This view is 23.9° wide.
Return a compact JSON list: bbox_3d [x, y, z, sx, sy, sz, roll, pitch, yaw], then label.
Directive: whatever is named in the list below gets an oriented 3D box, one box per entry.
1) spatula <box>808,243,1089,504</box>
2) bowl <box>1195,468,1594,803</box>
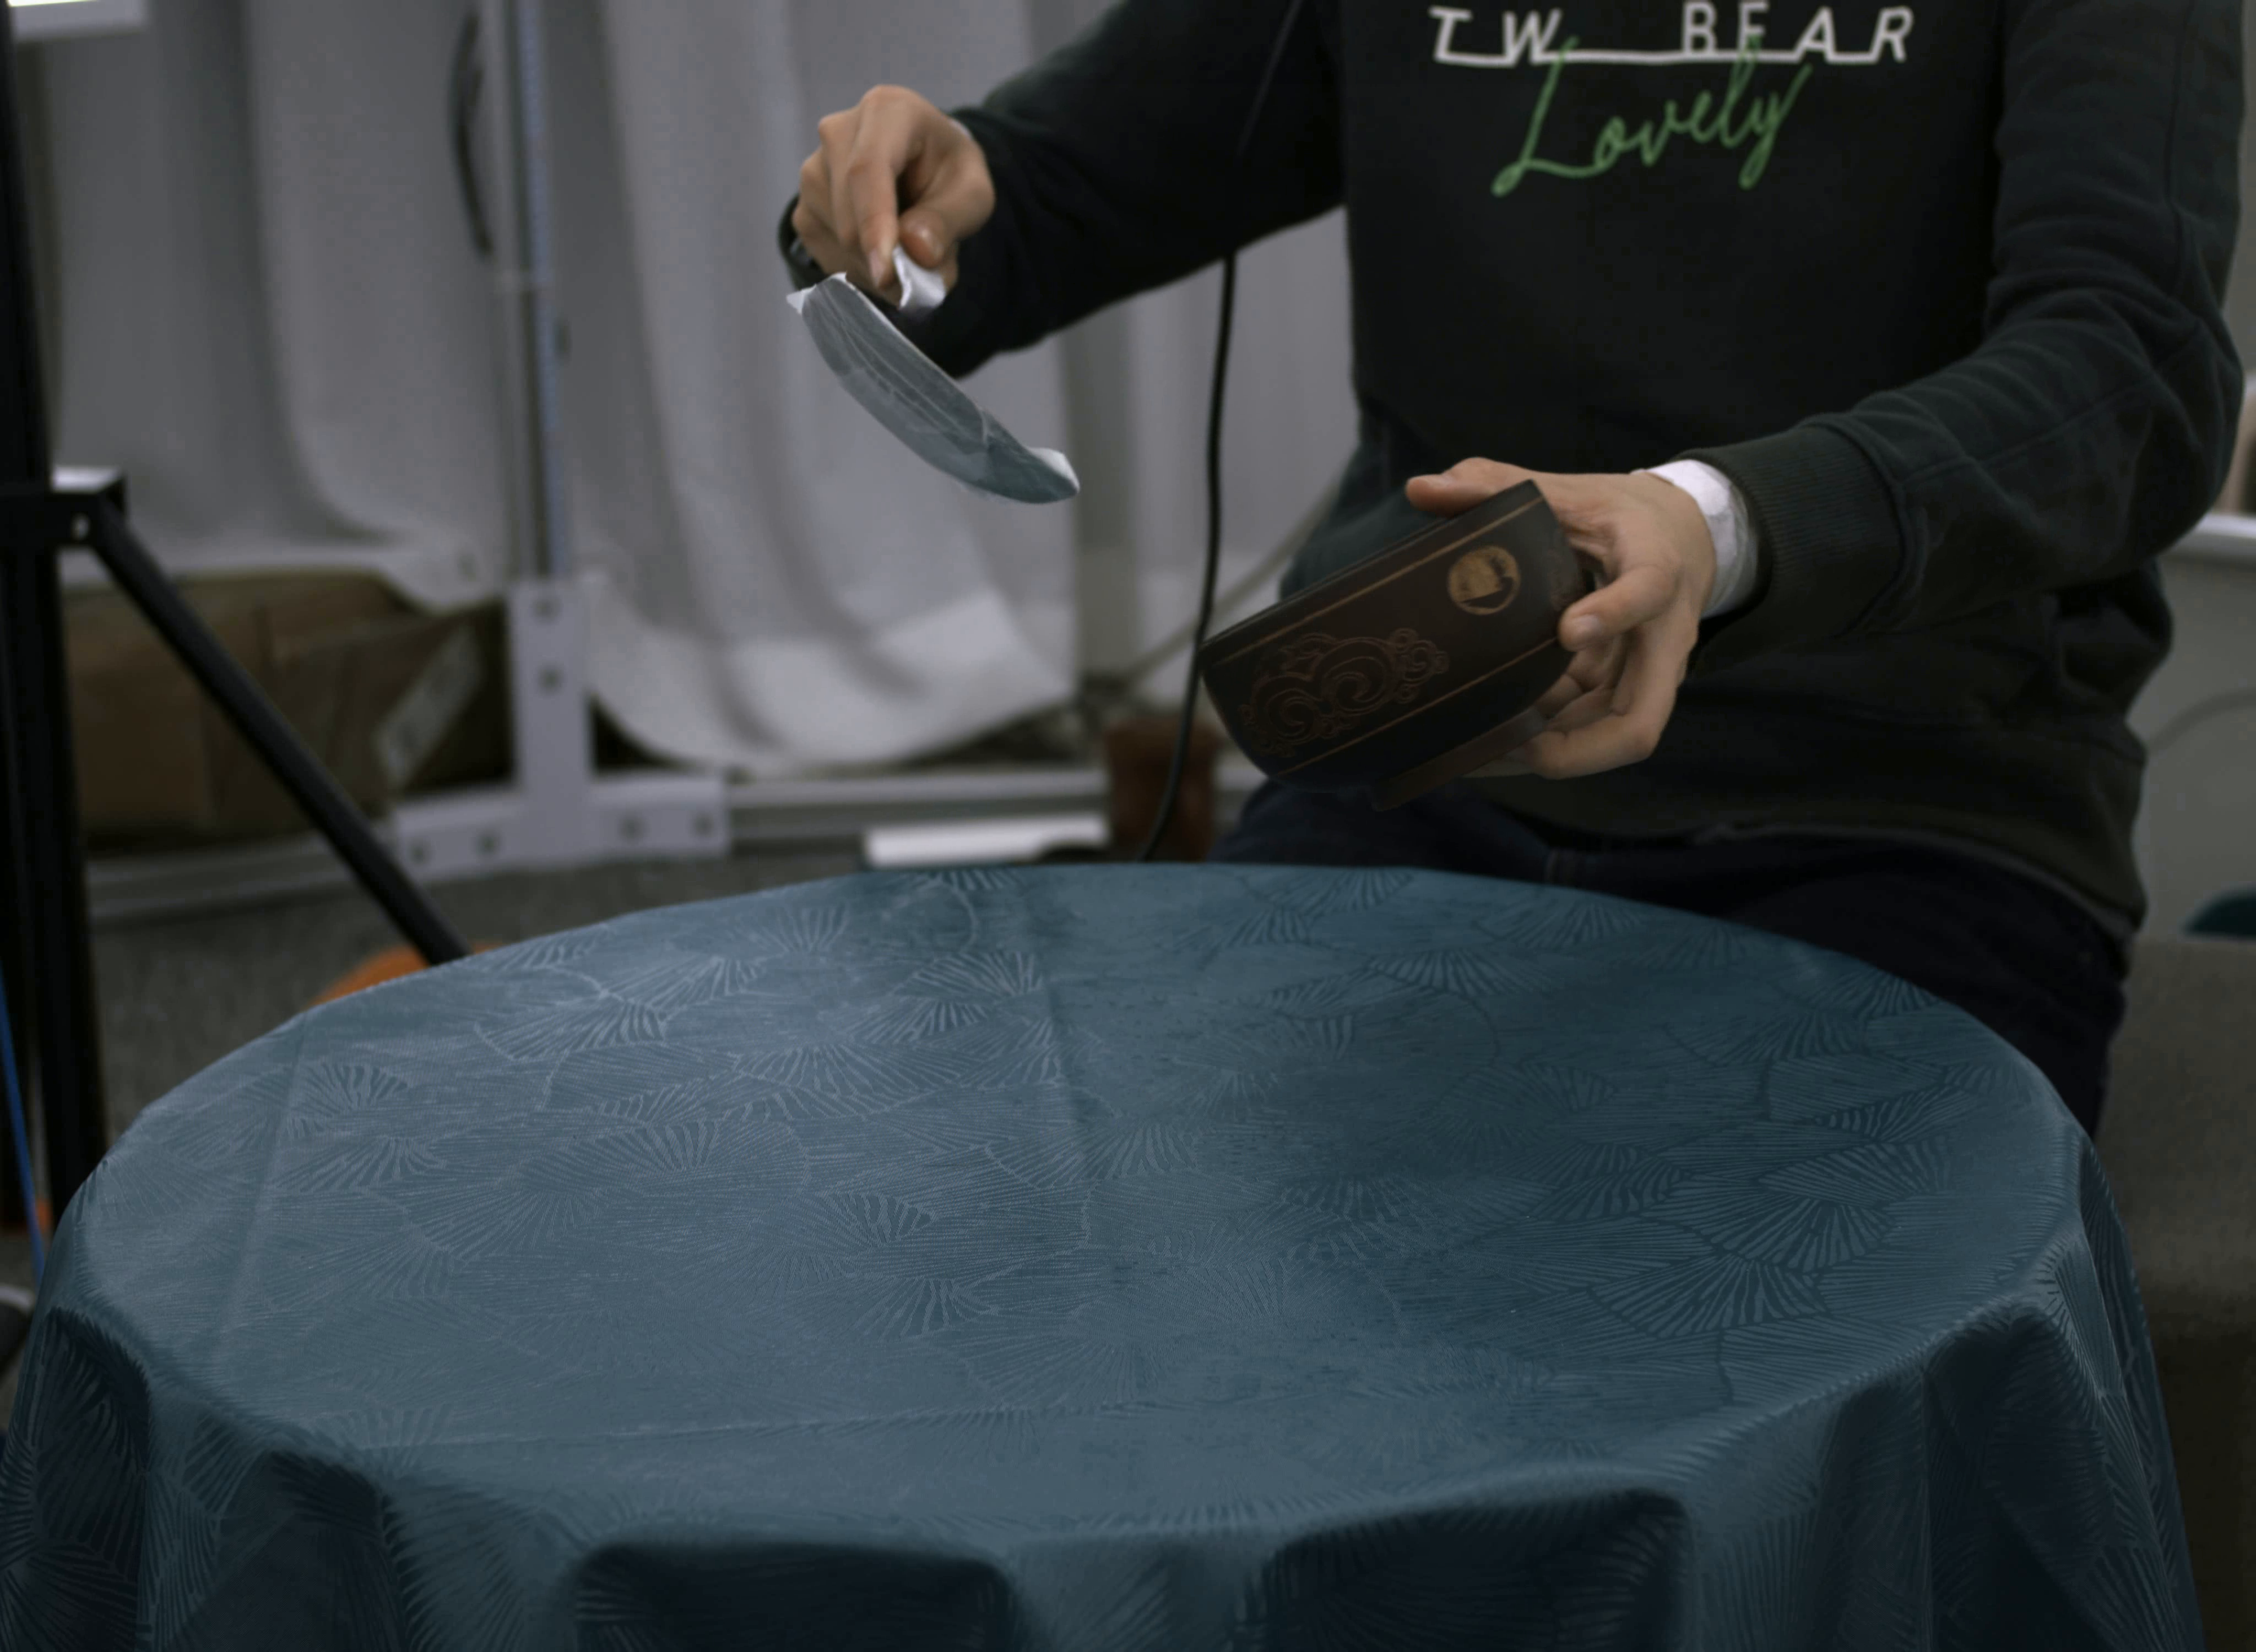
[{"bbox_3d":[-0.062,-0.163,1.719,0.098,0.045,0.366,40,11,-11],"label":"spatula"},{"bbox_3d":[0.085,-0.050,1.574,0.117,0.070,0.118,-25,2,-1],"label":"bowl"}]
